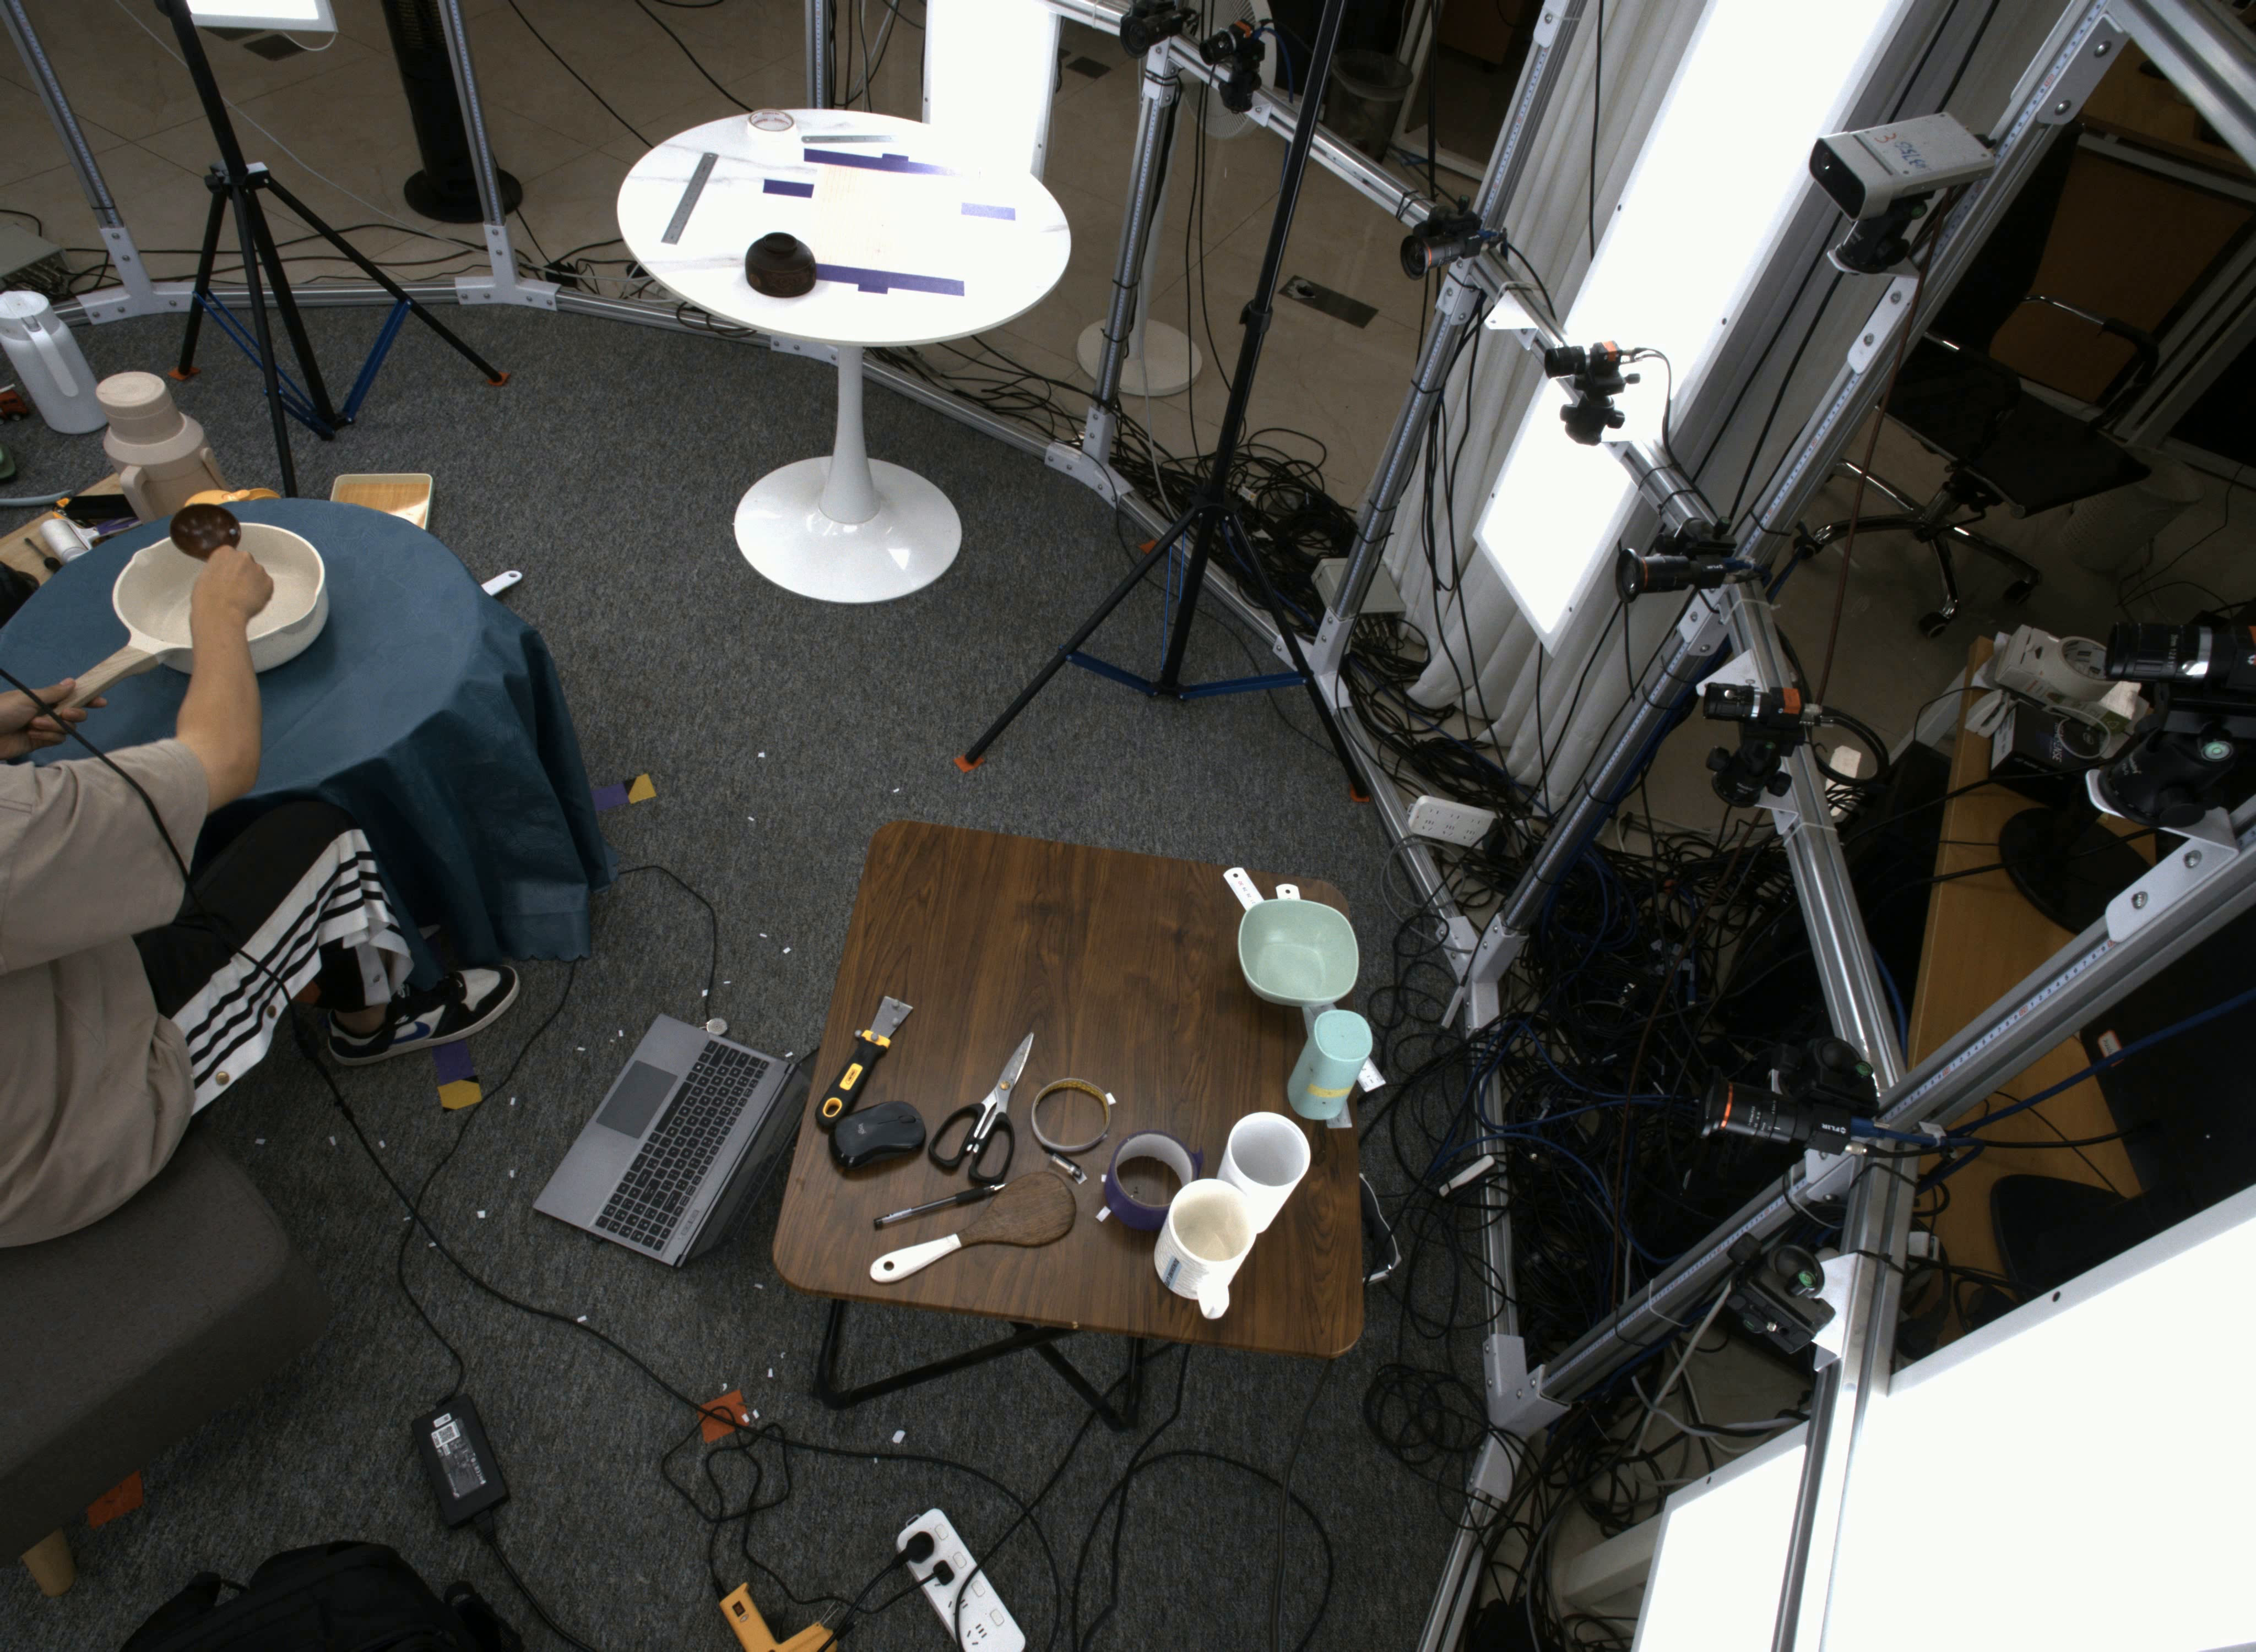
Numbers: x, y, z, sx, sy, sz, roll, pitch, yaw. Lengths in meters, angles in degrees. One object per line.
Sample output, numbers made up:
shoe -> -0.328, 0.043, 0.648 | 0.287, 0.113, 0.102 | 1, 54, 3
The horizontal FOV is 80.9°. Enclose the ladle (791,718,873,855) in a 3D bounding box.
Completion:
ladle -> -0.345, -0.055, 1.547 | 0.082, 0.079, 0.265 | -18, 29, -15

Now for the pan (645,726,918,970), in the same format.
pan -> -0.447, 0.043, 1.634 | 0.259, 0.104, 0.434 | 32, 54, 10
